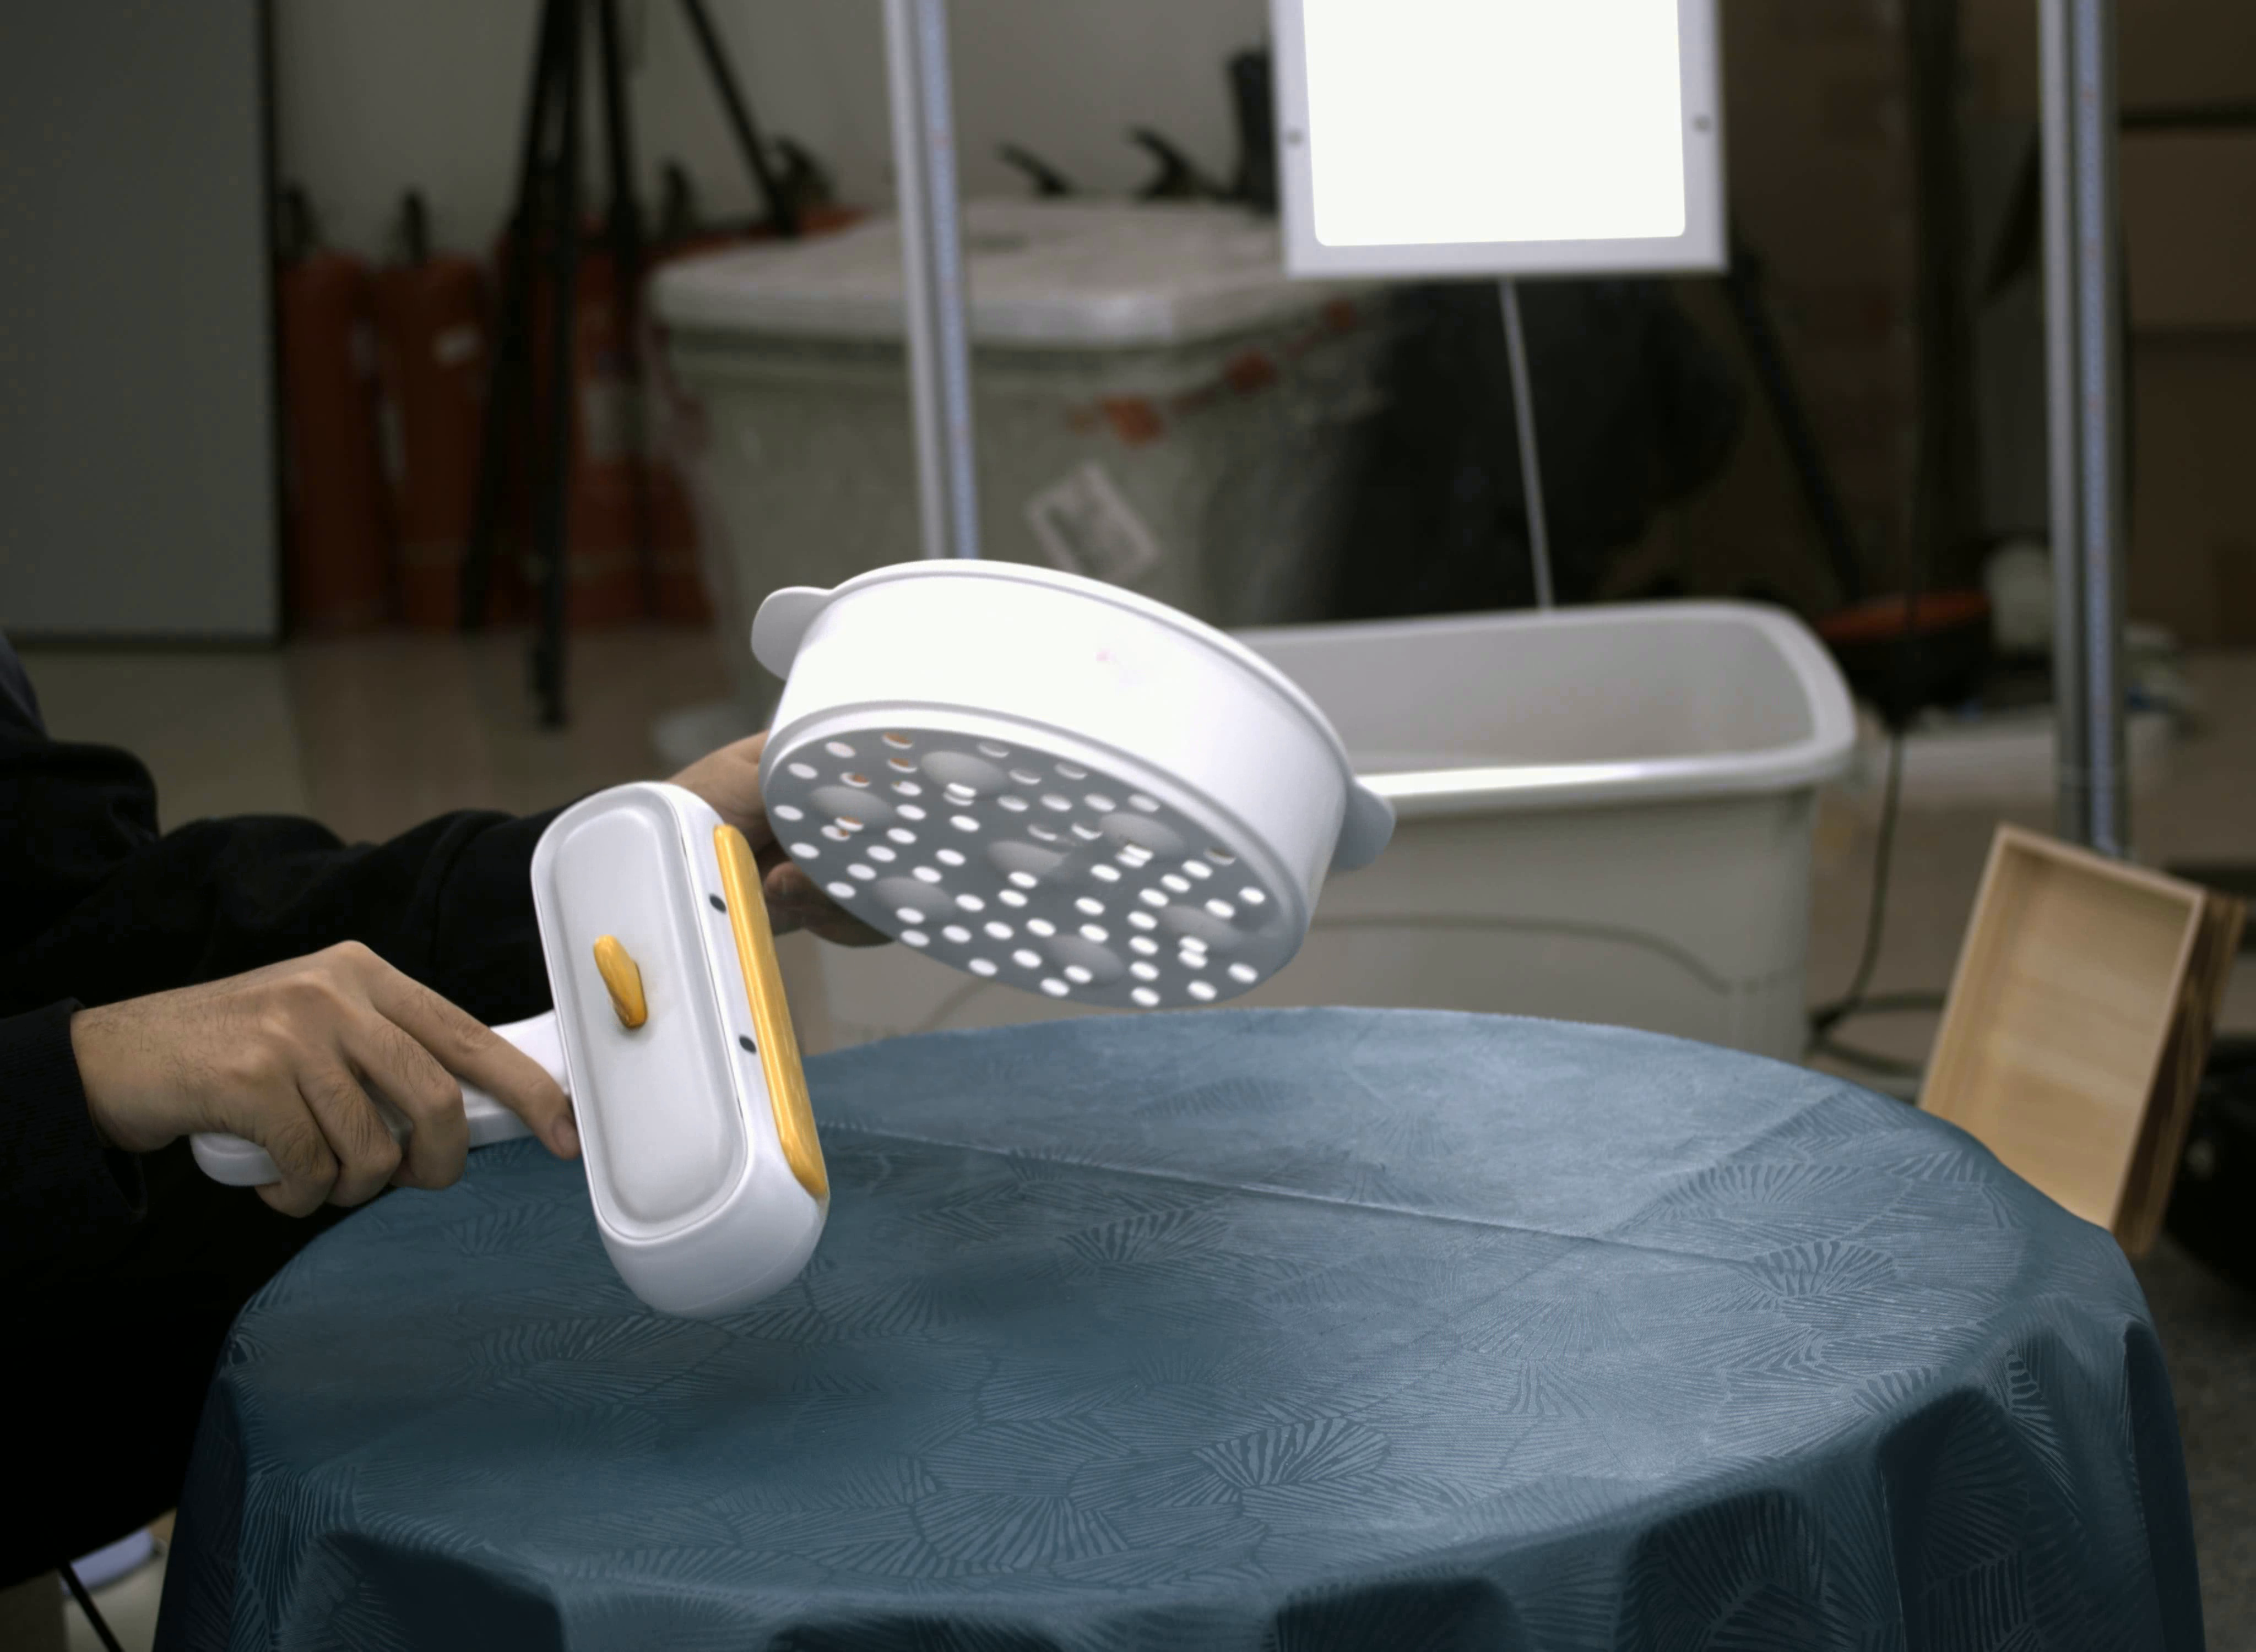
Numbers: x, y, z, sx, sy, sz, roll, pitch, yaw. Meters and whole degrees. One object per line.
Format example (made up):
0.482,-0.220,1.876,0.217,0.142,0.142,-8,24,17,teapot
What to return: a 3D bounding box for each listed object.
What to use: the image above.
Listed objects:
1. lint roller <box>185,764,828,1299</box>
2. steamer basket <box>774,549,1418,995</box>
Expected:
-0.203,0.081,1.756,0.192,0.074,0.194,-22,56,3,lint roller
-0.019,-0.013,1.861,0.230,0.069,0.204,20,-24,-1,steamer basket
